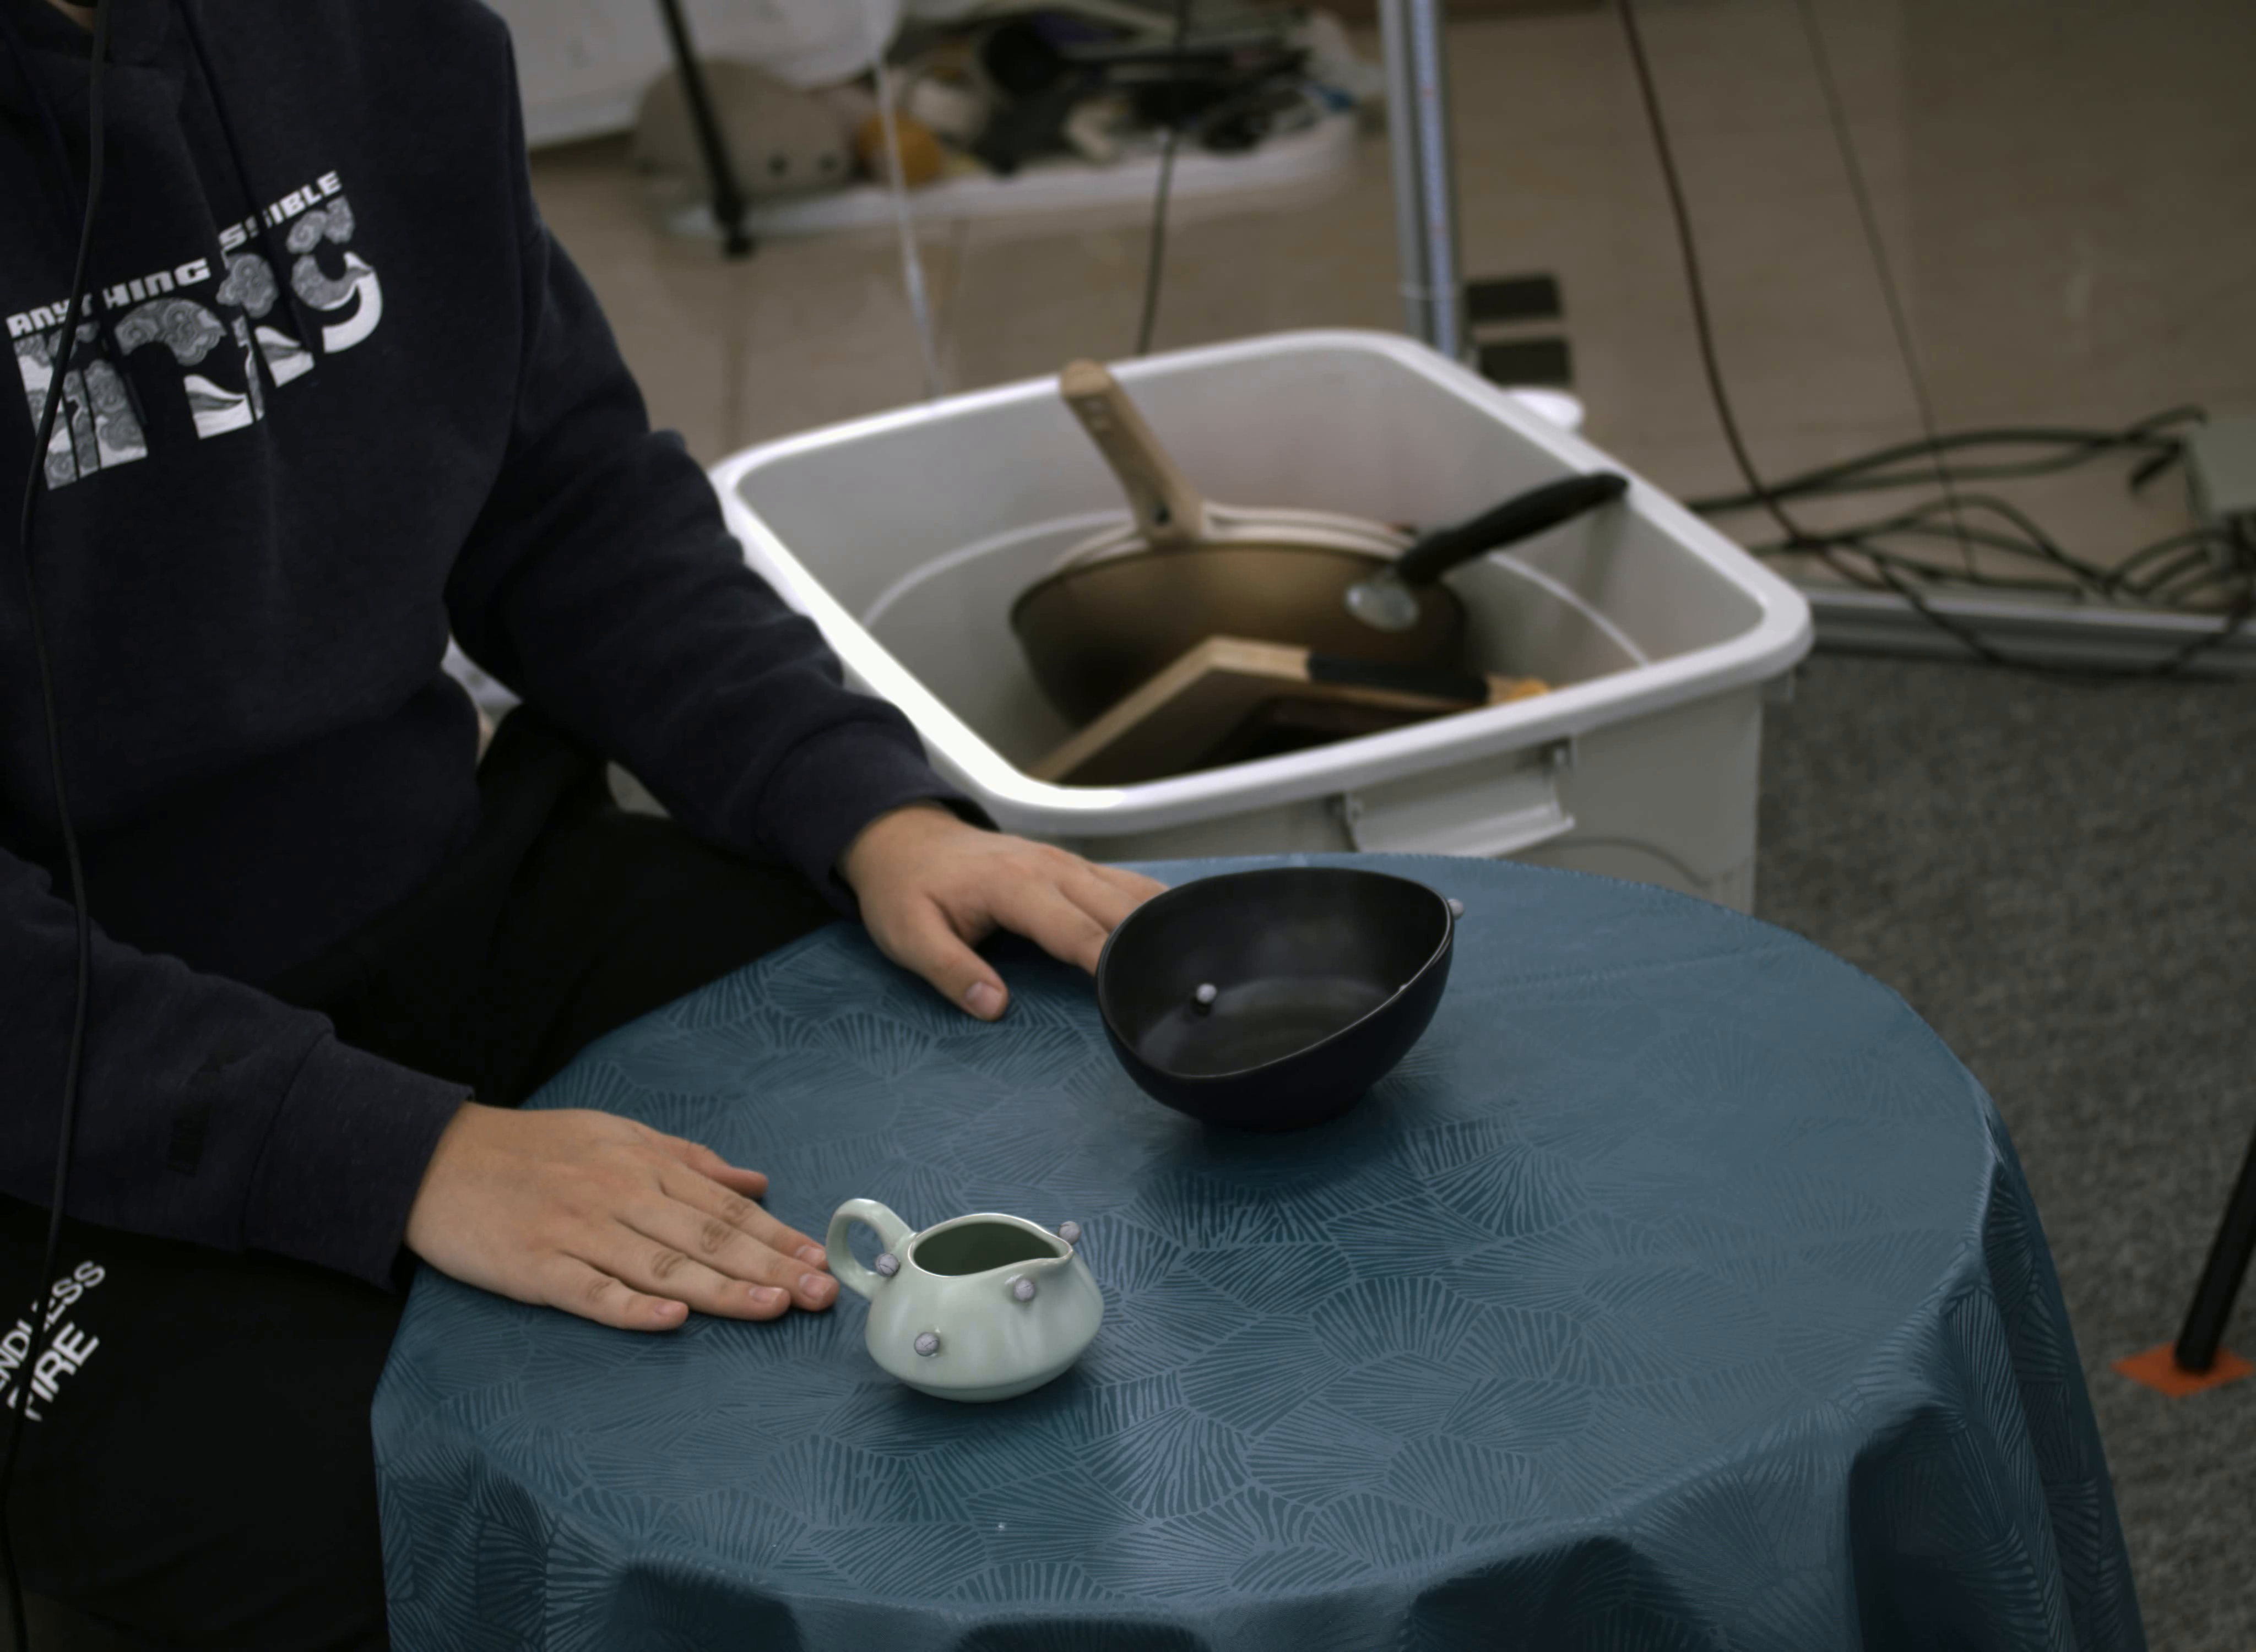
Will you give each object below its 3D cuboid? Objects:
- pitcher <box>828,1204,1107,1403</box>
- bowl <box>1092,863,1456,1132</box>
[{"bbox_3d":[-0.061,0.169,2.031,0.107,0.061,0.085,7,27,31],"label":"pitcher"},{"bbox_3d":[0.059,0.074,2.198,0.137,0.068,0.168,3,27,21],"label":"bowl"}]
